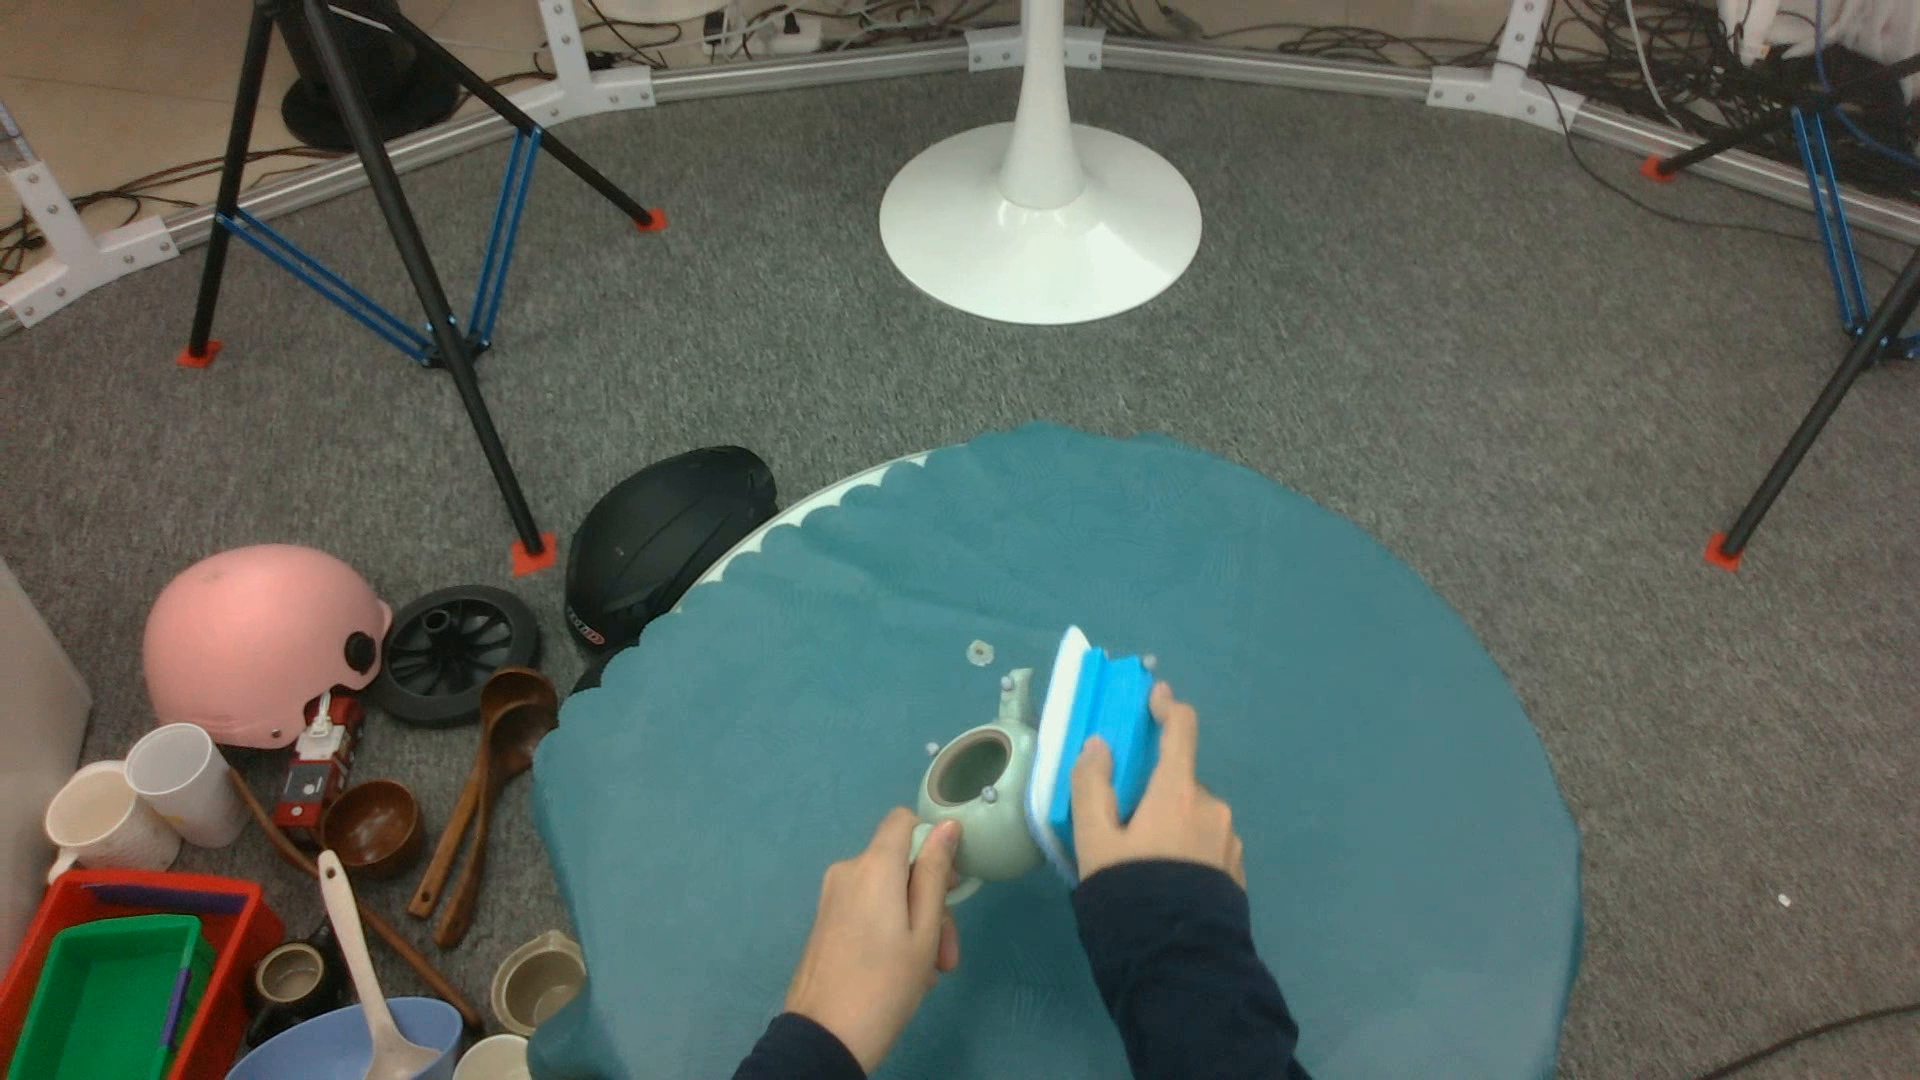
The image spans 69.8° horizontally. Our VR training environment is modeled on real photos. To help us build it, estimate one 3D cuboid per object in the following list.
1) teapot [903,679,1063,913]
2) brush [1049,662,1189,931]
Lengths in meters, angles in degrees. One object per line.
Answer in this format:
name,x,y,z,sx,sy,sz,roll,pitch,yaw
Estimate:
teapot,0.023,0.149,0.757,0.088,0.074,0.144,-3,38,45
brush,0.093,0.129,0.736,0.055,0.084,0.144,-29,35,32
